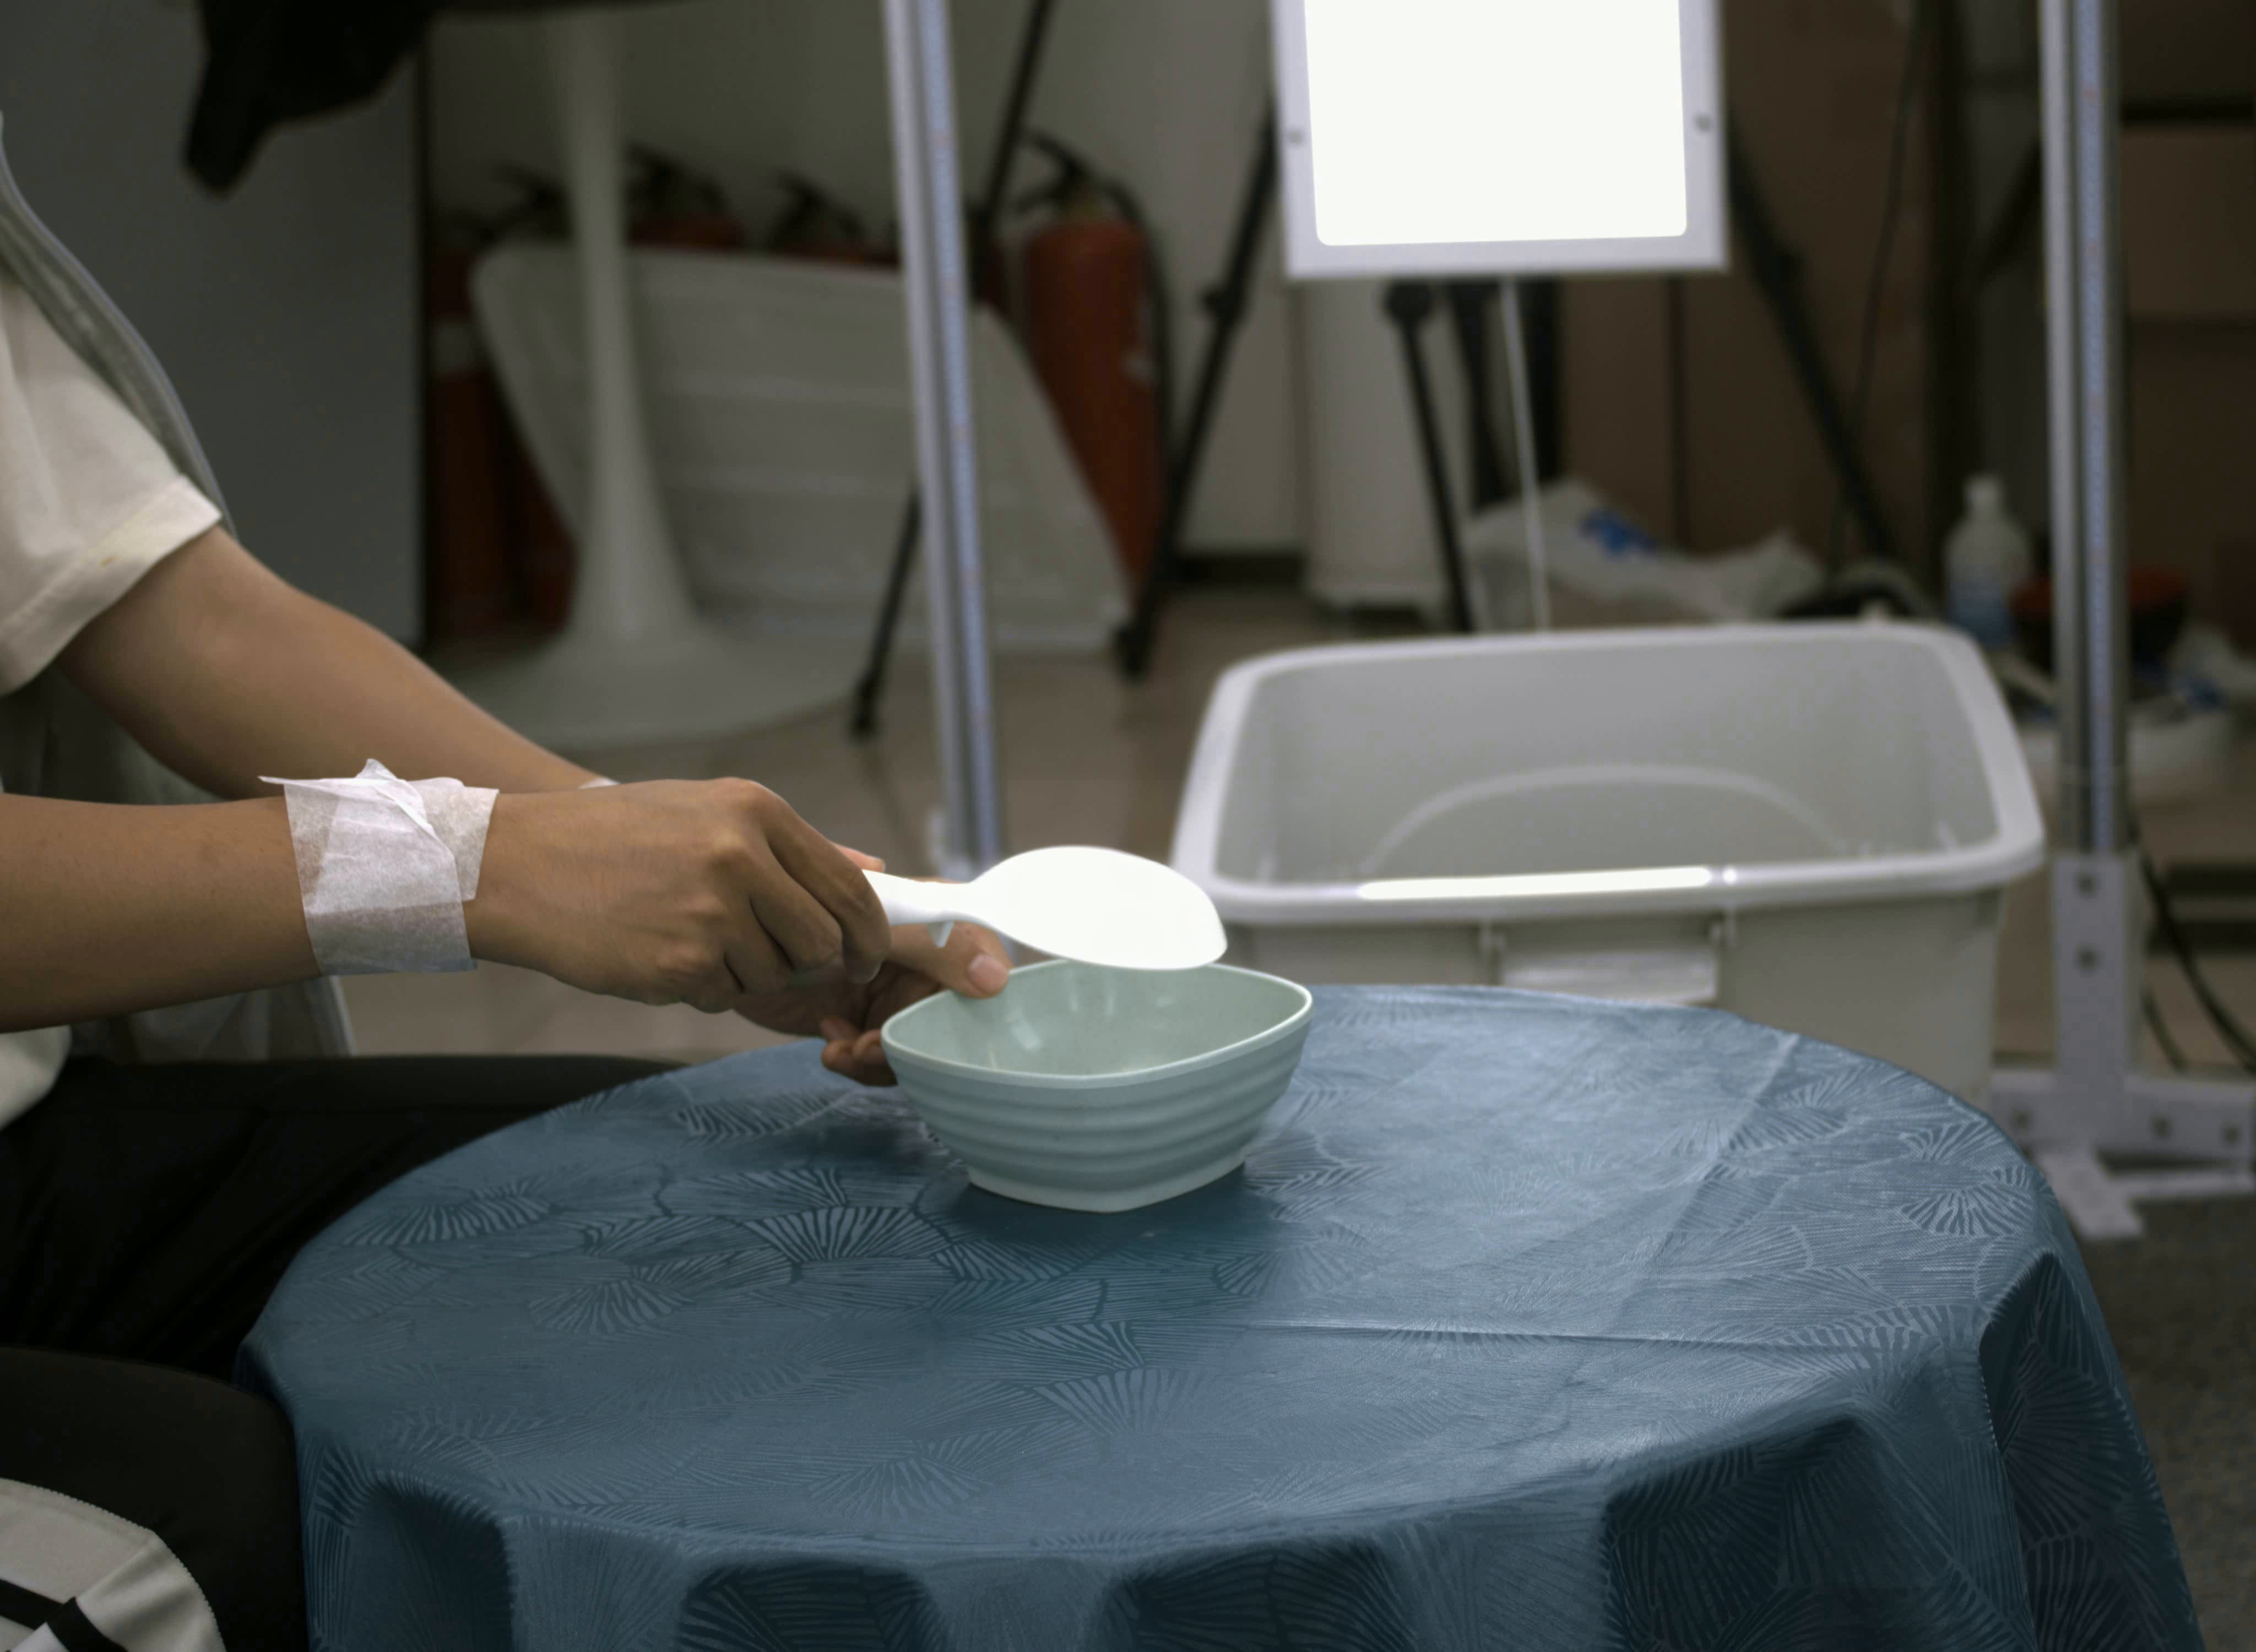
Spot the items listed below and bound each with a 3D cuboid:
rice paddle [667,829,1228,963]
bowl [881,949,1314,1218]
[{"bbox_3d":[-0.055,0.023,1.847,0.201,0.030,0.069,0,40,-27],"label":"rice paddle"},{"bbox_3d":[-0.009,0.092,1.917,0.151,0.059,0.151,-3,16,0],"label":"bowl"}]
